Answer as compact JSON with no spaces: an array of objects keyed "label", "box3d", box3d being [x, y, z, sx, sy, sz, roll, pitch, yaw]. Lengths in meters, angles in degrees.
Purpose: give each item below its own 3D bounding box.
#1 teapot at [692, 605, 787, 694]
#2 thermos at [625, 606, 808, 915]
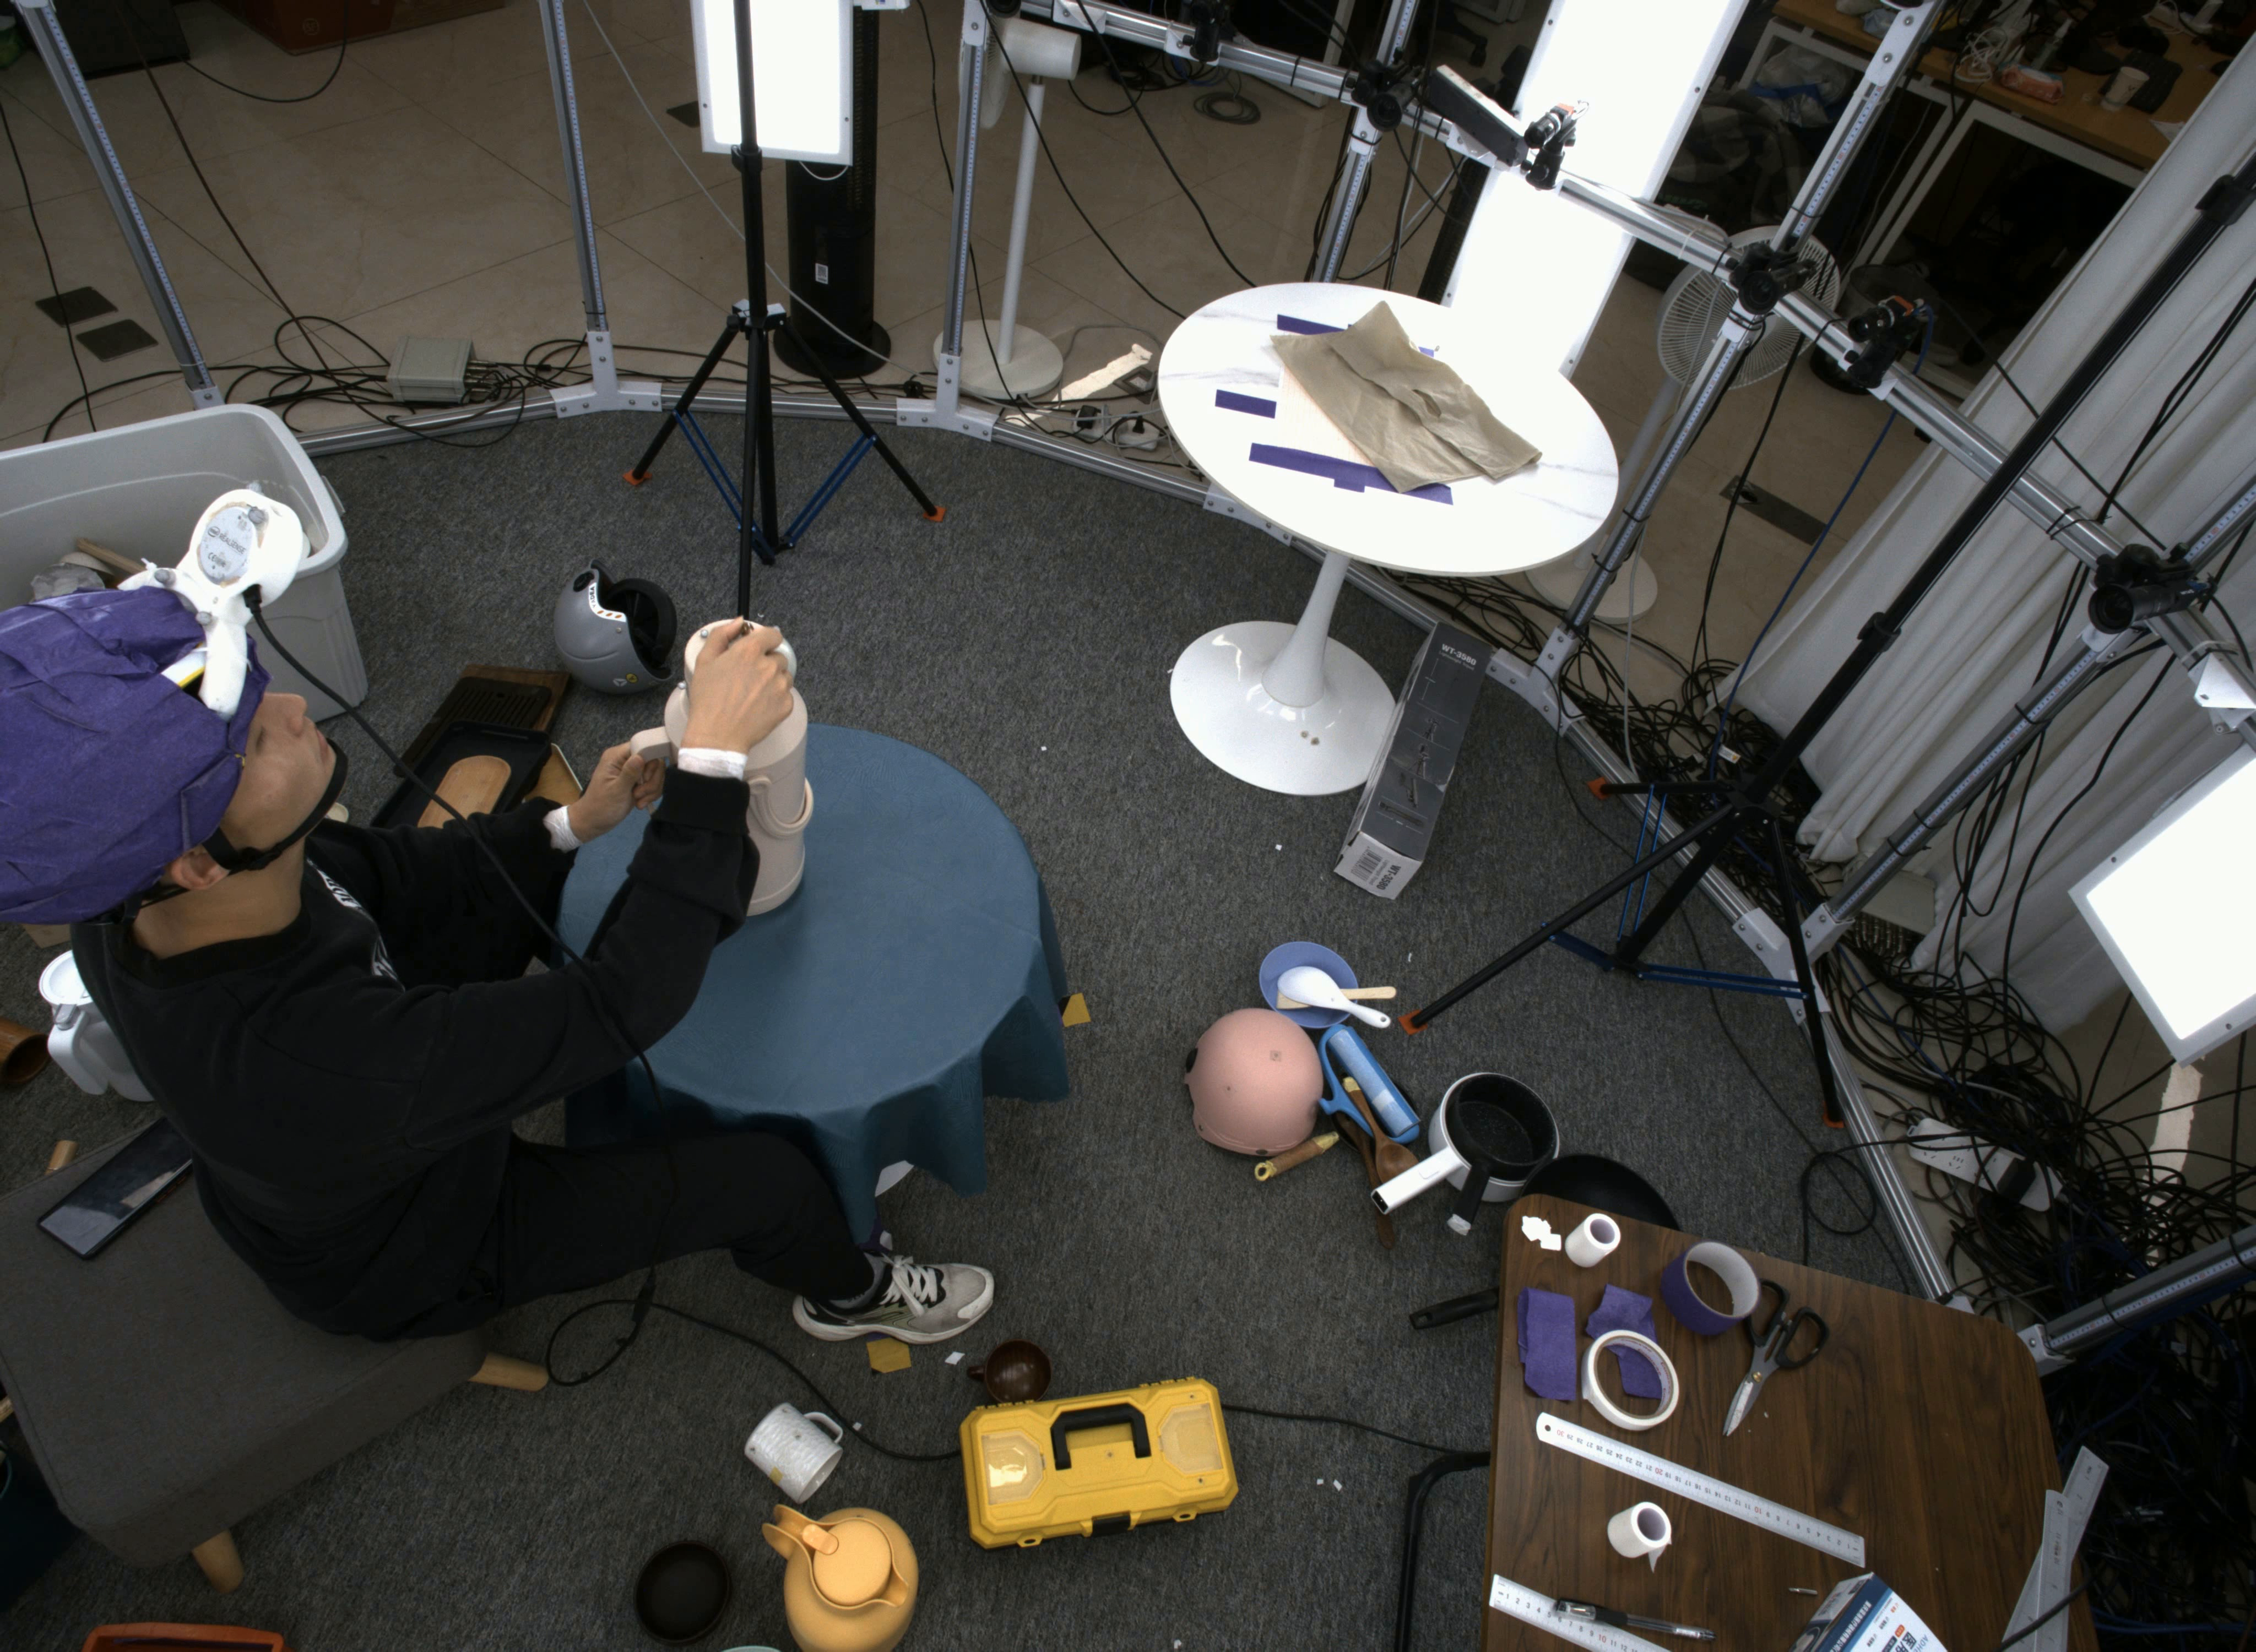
[{"label":"teapot","box3d":[-0.375,-0.168,1.246,0.092,0.127,0.059,-12,79,-24]},{"label":"thermos","box3d":[-0.474,-0.069,1.498,0.208,0.413,0.171,-16,61,-26]}]
